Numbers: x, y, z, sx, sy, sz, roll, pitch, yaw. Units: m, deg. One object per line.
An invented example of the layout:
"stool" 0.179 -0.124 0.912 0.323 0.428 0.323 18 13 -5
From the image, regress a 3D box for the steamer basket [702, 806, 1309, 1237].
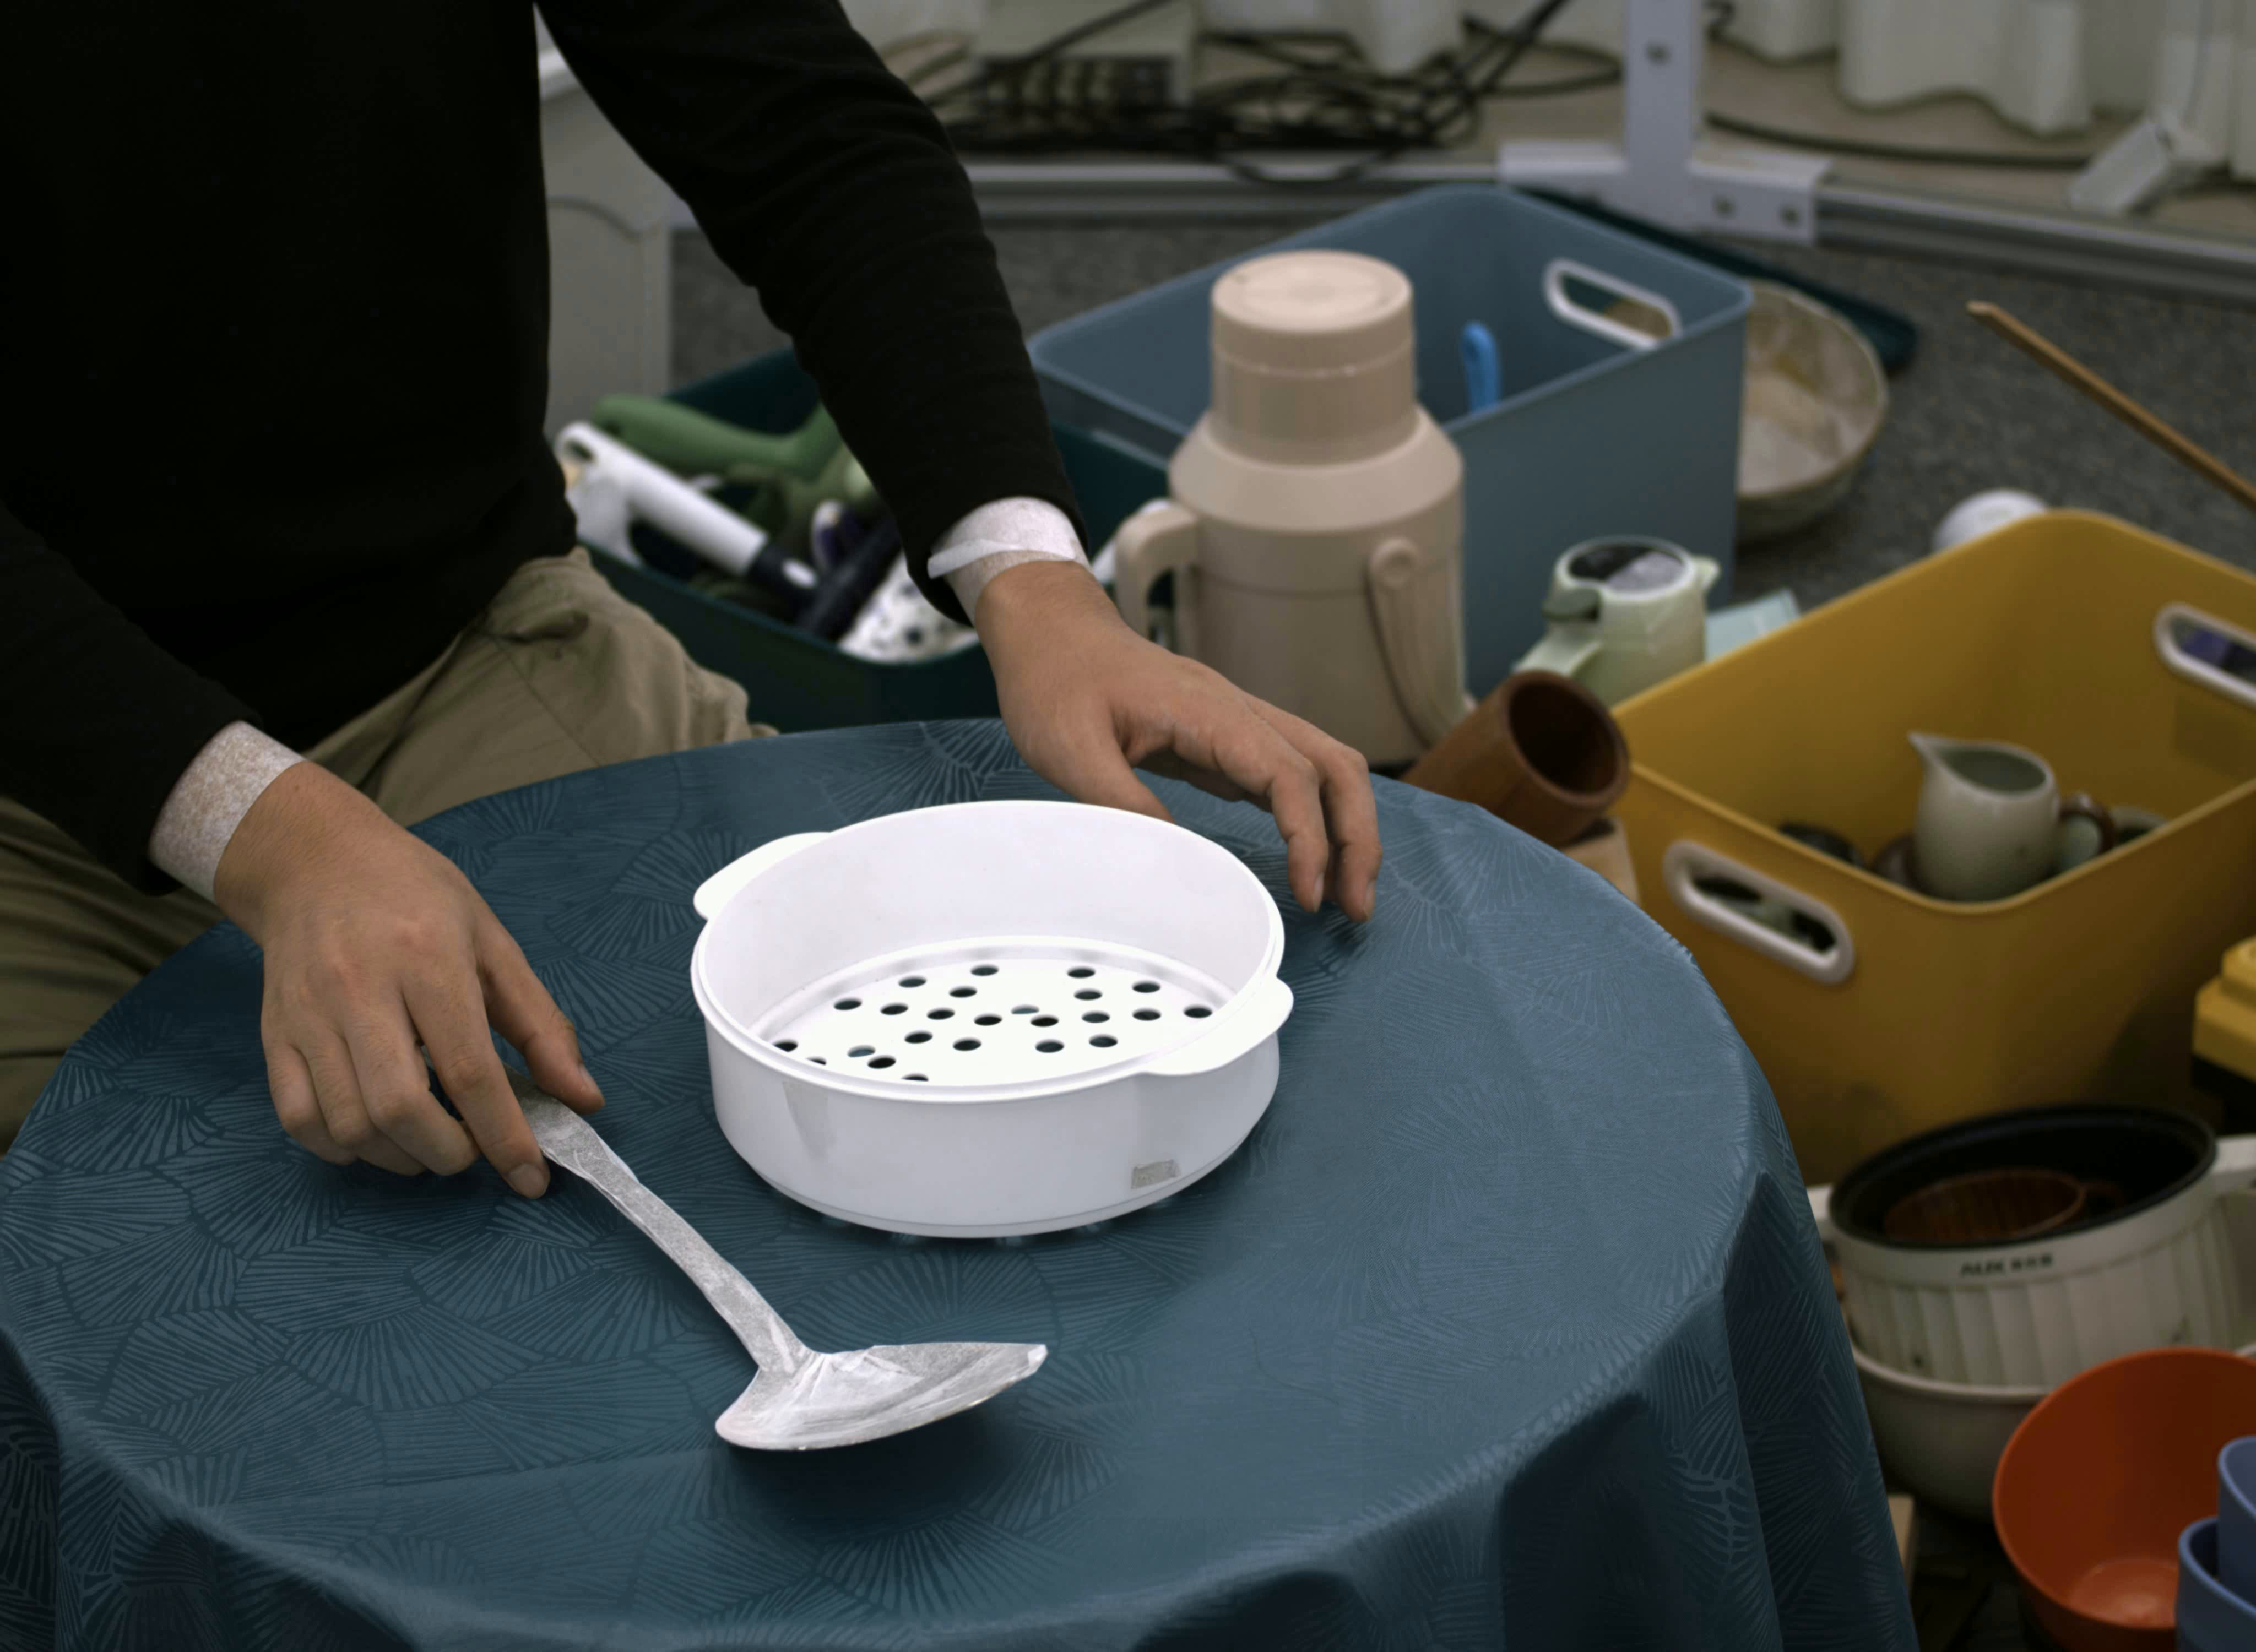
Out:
"steamer basket" -0.041 0.066 1.897 0.229 0.068 0.205 17 33 35

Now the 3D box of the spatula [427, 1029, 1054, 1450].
"spatula" -0.150 0.125 1.827 0.099 0.044 0.366 -19 32 -27
